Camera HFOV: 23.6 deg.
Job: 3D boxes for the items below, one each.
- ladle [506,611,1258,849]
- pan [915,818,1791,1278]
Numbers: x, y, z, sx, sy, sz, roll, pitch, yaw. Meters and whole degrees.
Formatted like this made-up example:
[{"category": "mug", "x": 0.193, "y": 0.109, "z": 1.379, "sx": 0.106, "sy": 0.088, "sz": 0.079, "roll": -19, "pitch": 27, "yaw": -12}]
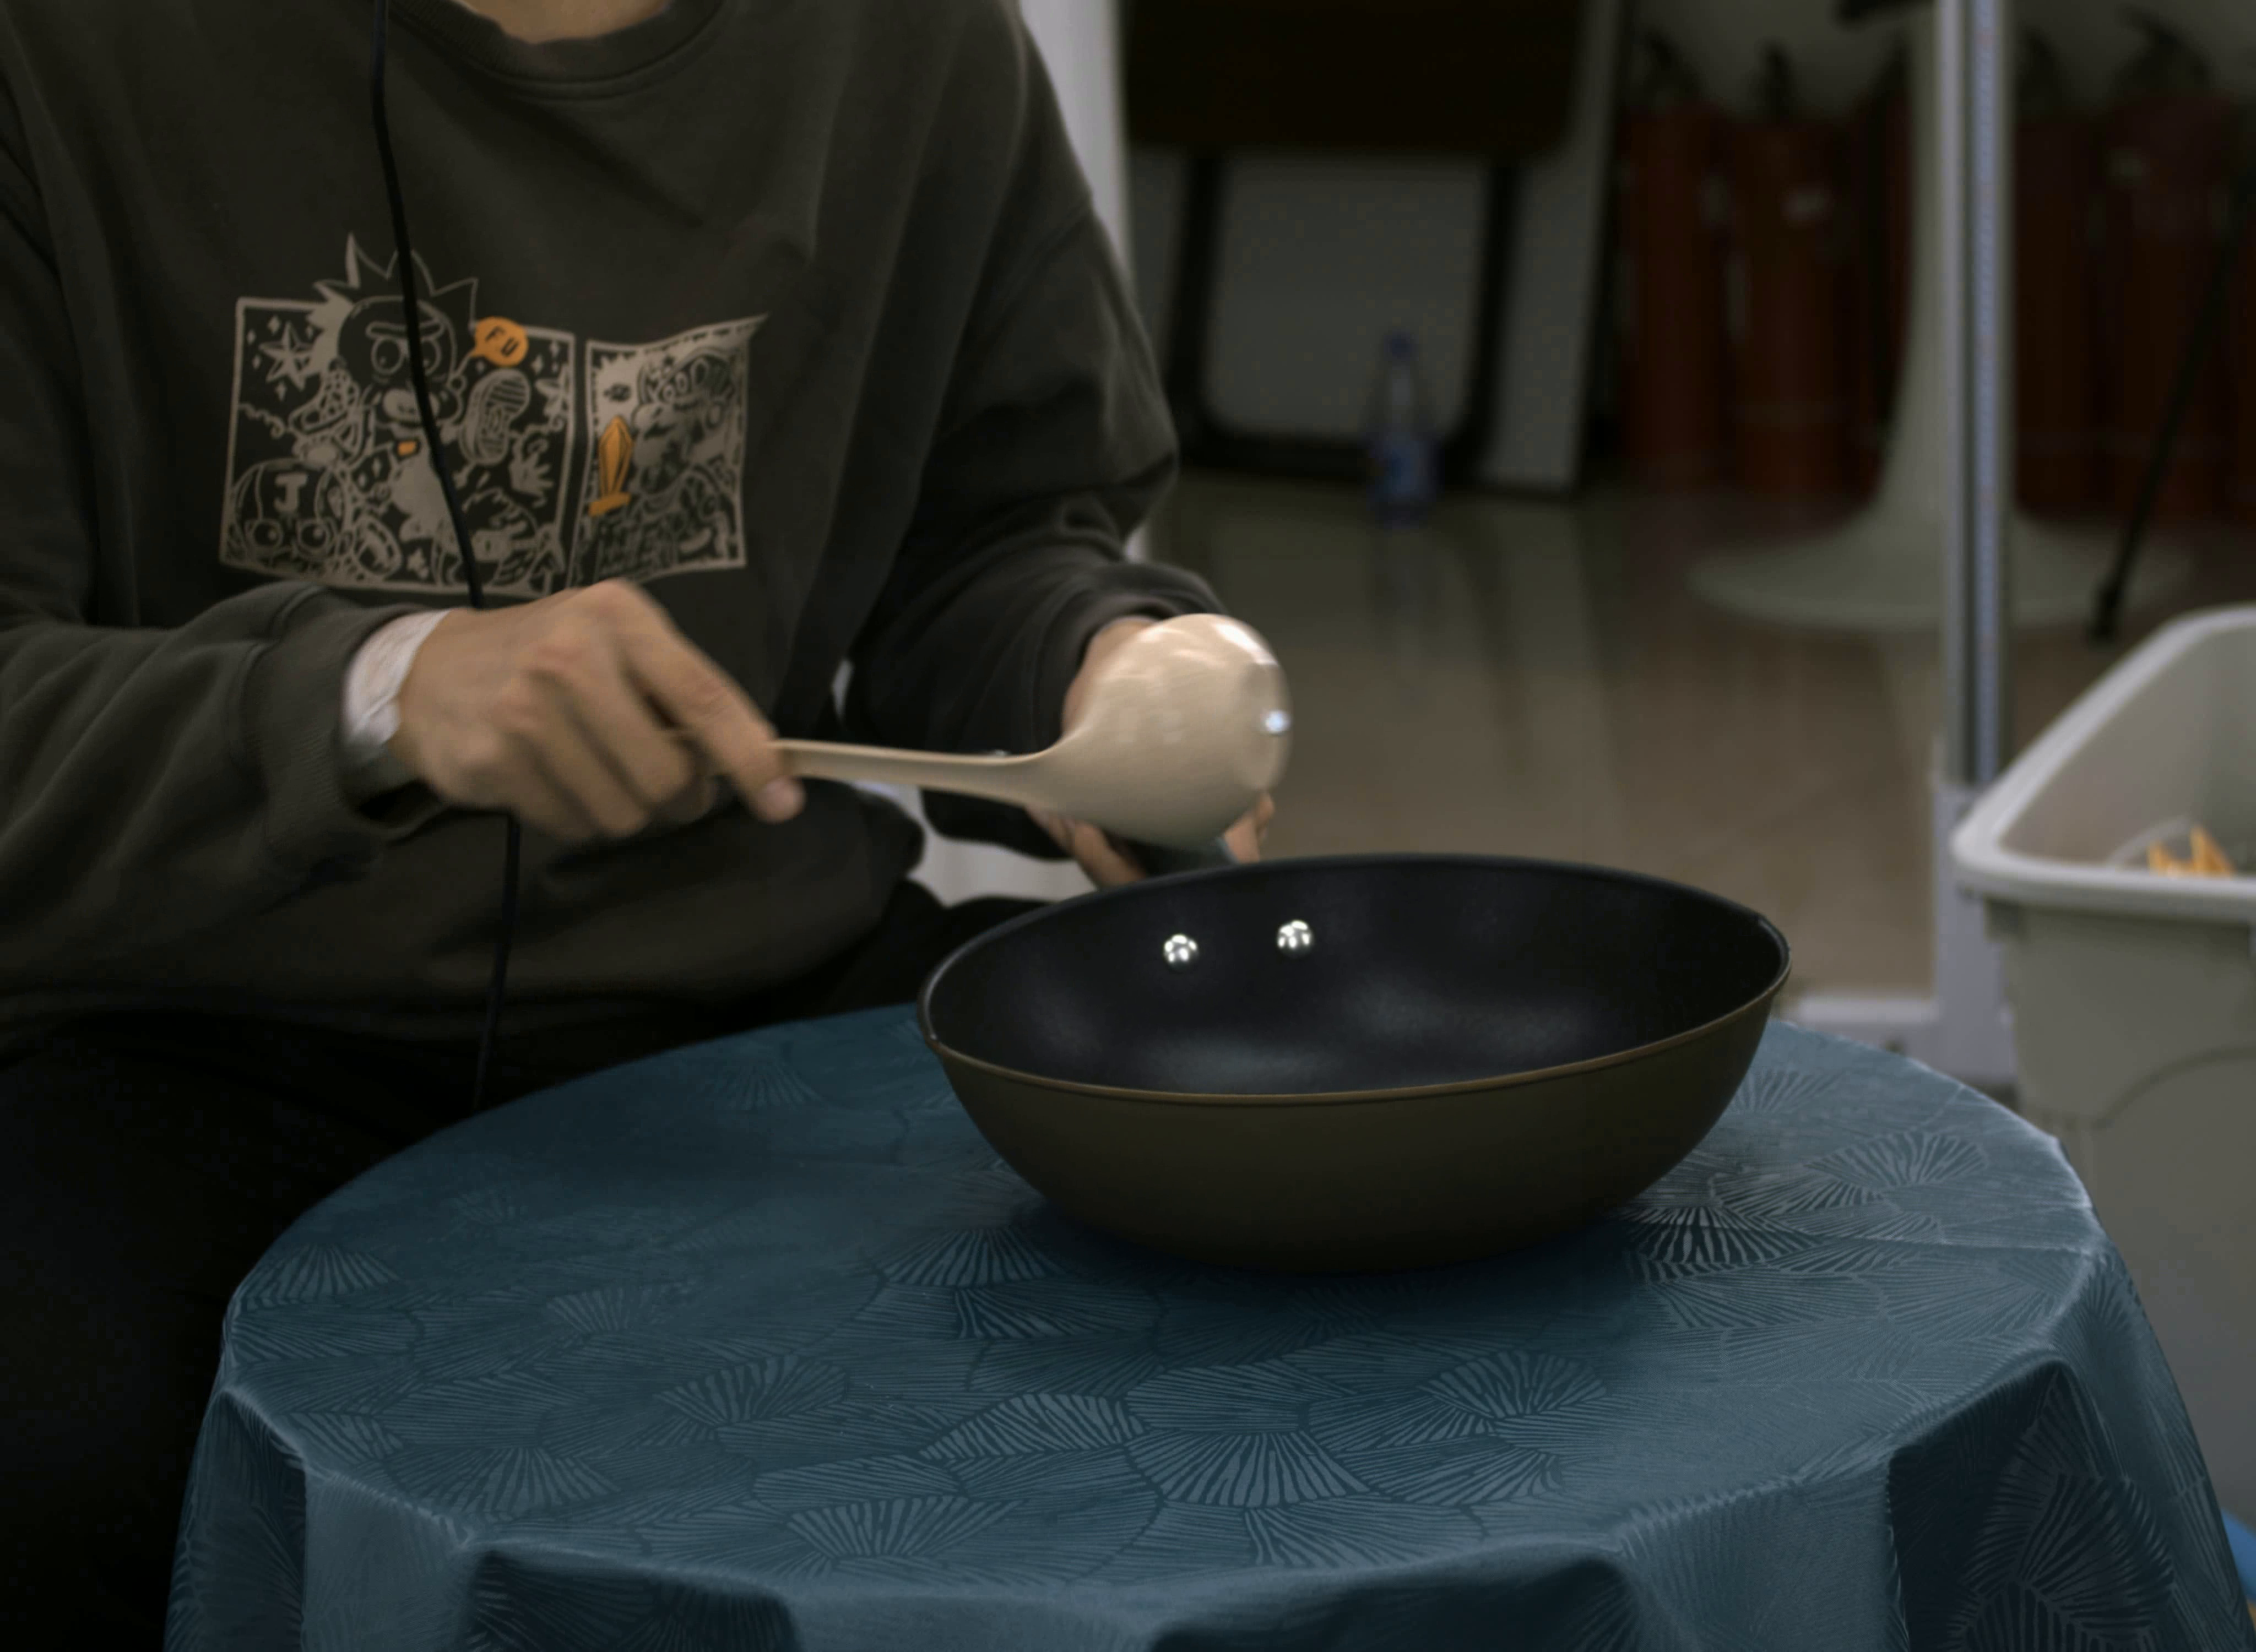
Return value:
[{"category": "ladle", "x": -0.076, "y": -0.038, "z": 1.691, "sx": 0.256, "sy": 0.072, "sz": 0.072, "roll": 6, "pitch": 44, "yaw": 33}, {"category": "pan", "x": 0.049, "y": 0.066, "z": 1.818, "sx": 0.282, "sy": 0.088, "sz": 0.467, "roll": -8, "pitch": 13, "yaw": -14}]
